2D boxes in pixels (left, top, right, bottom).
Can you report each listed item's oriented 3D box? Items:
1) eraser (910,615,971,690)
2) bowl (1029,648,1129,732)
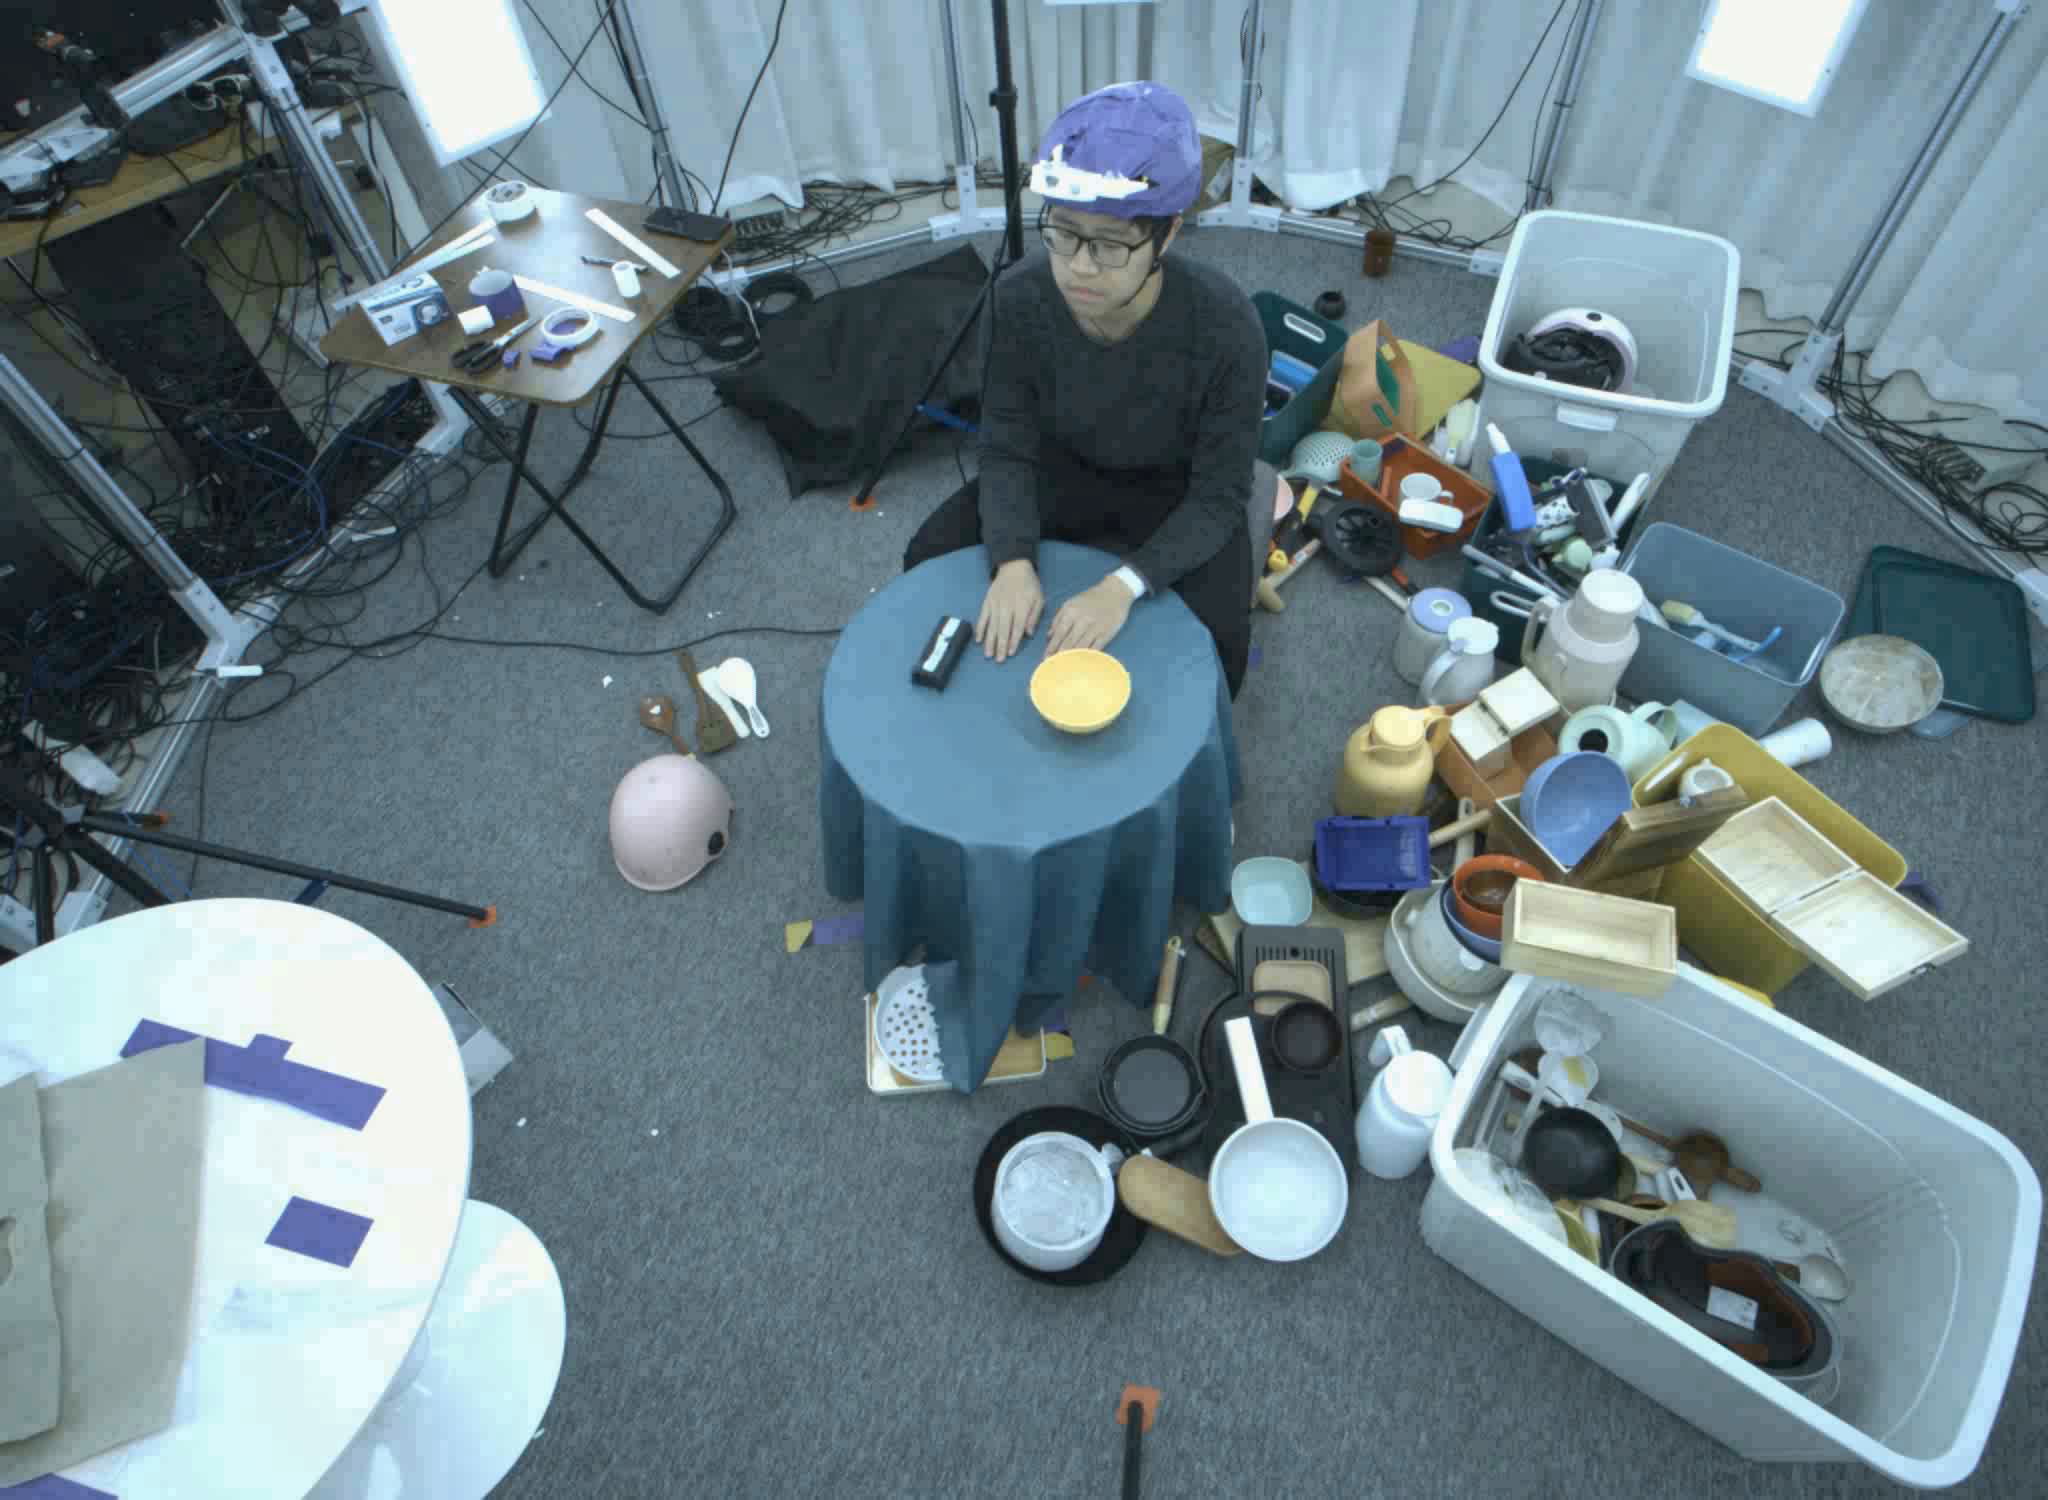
[{"bbox_3d":[-0.128,-0.150,1.881,0.053,0.031,0.125,16,57,10],"label":"eraser"},{"bbox_3d":[0.080,-0.077,1.803,0.145,0.060,0.144,1,55,0],"label":"bowl"}]
